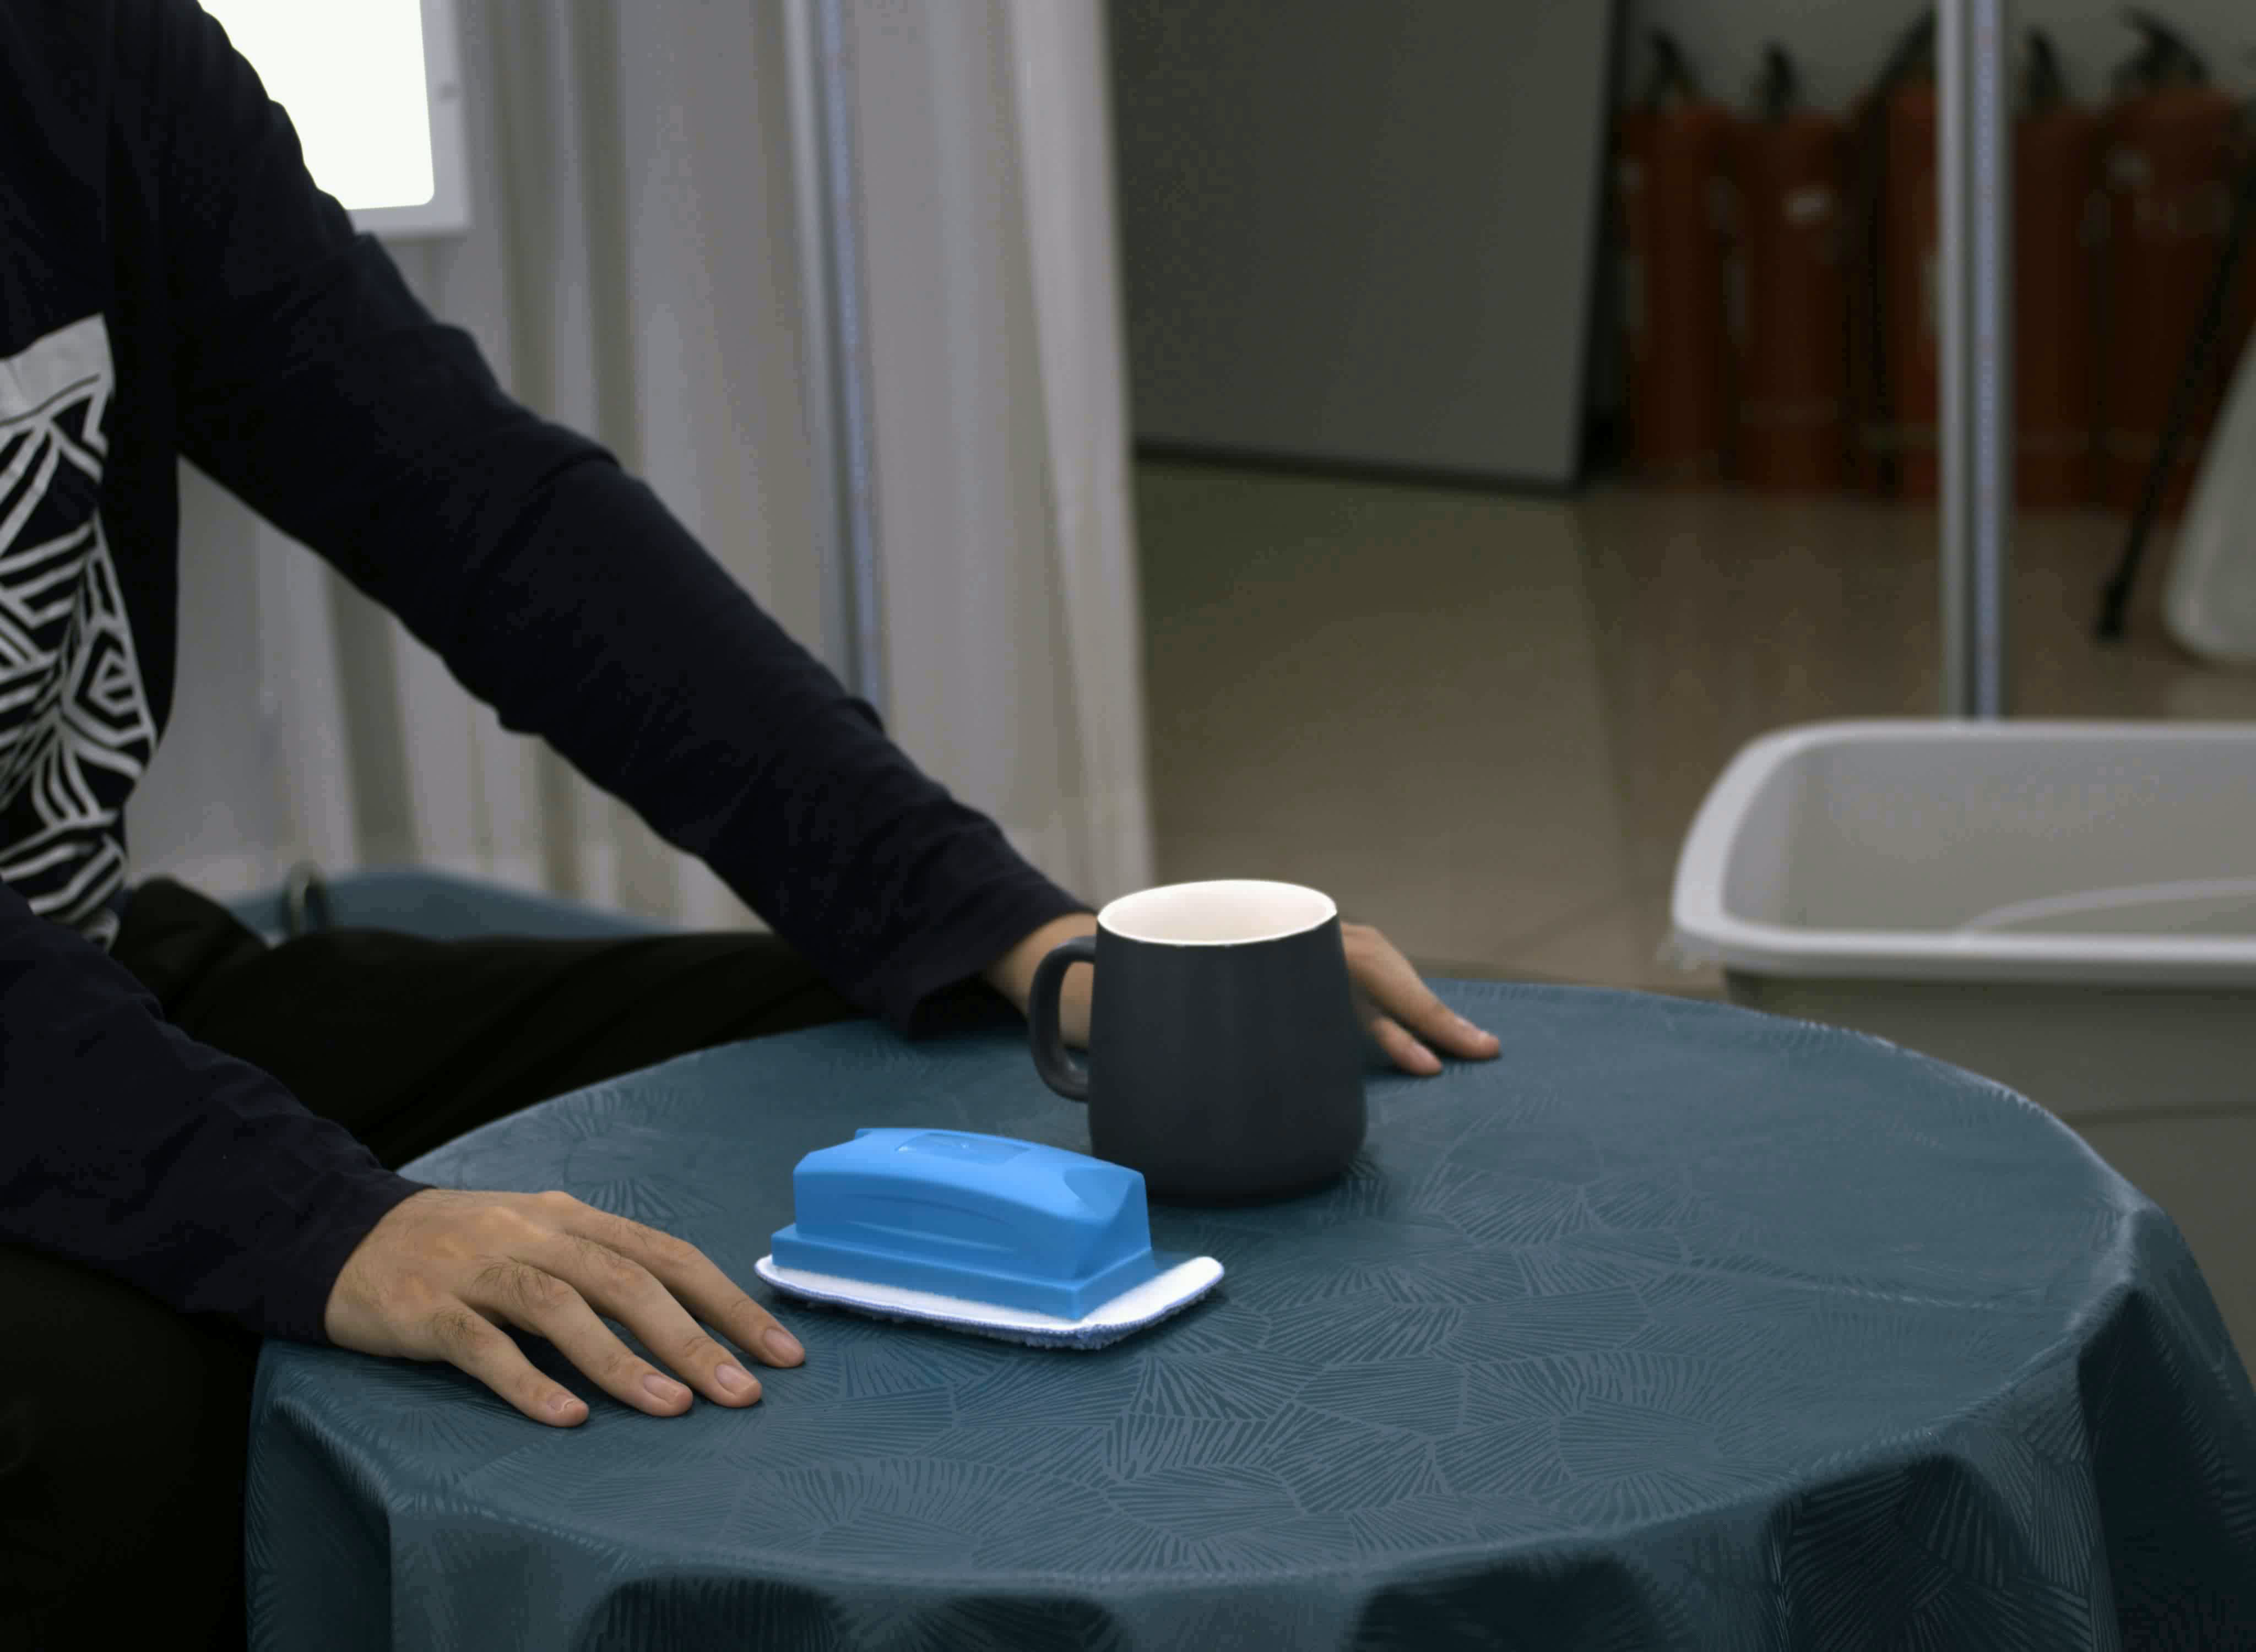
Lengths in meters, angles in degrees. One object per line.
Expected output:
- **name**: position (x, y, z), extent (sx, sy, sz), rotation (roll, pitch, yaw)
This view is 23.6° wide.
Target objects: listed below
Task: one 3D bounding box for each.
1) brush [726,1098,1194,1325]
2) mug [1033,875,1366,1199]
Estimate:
- **brush**: position (-0.052, 0.118, 1.676), extent (0.145, 0.056, 0.082), rotation (10, 16, 37)
- **mug**: position (0.020, 0.067, 1.787), extent (0.124, 0.091, 0.092), rotation (8, 16, 36)
